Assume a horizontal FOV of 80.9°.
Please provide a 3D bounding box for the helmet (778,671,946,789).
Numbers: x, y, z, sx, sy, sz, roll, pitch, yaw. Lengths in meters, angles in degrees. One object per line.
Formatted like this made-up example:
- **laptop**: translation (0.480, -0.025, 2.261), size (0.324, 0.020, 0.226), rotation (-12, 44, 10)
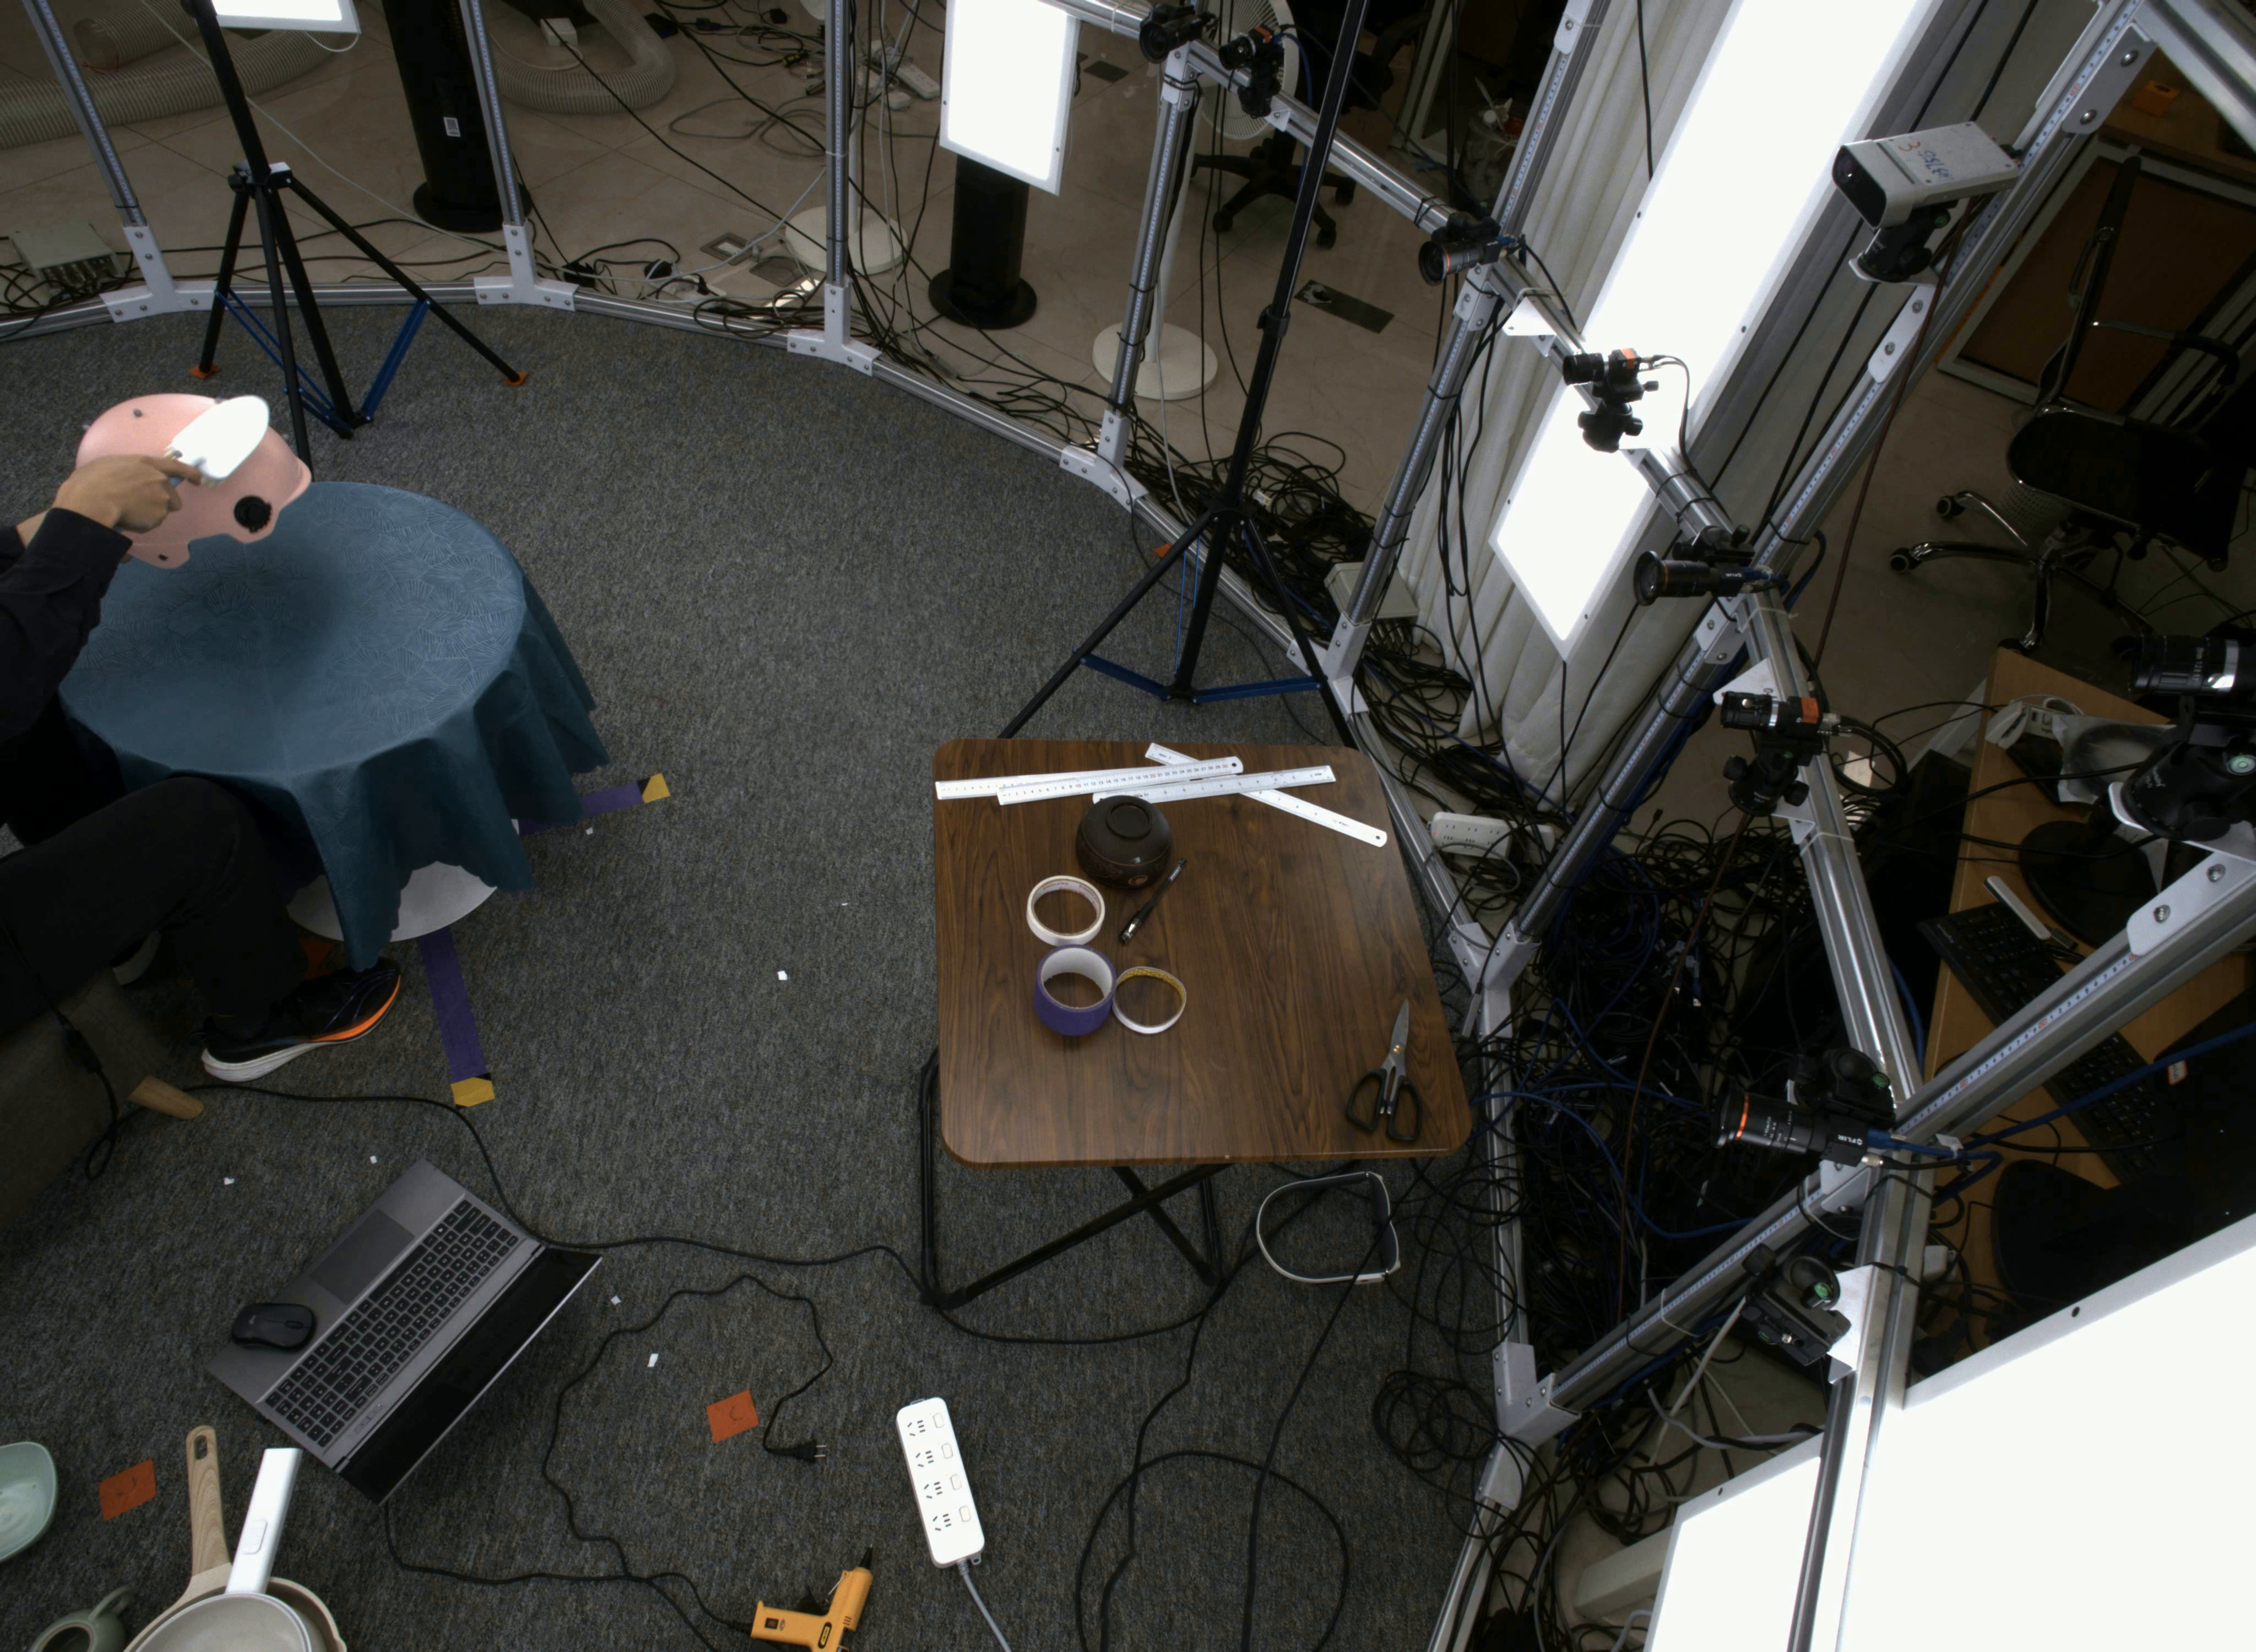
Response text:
- **helmet**: translation (-0.419, -0.161, 2.057), size (0.267, 0.163, 0.227), rotation (-1, 18, -18)

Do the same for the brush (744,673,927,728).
- **brush**: translation (-0.432, -0.182, 1.883), size (0.080, 0.086, 0.330), rotation (26, 23, 33)
